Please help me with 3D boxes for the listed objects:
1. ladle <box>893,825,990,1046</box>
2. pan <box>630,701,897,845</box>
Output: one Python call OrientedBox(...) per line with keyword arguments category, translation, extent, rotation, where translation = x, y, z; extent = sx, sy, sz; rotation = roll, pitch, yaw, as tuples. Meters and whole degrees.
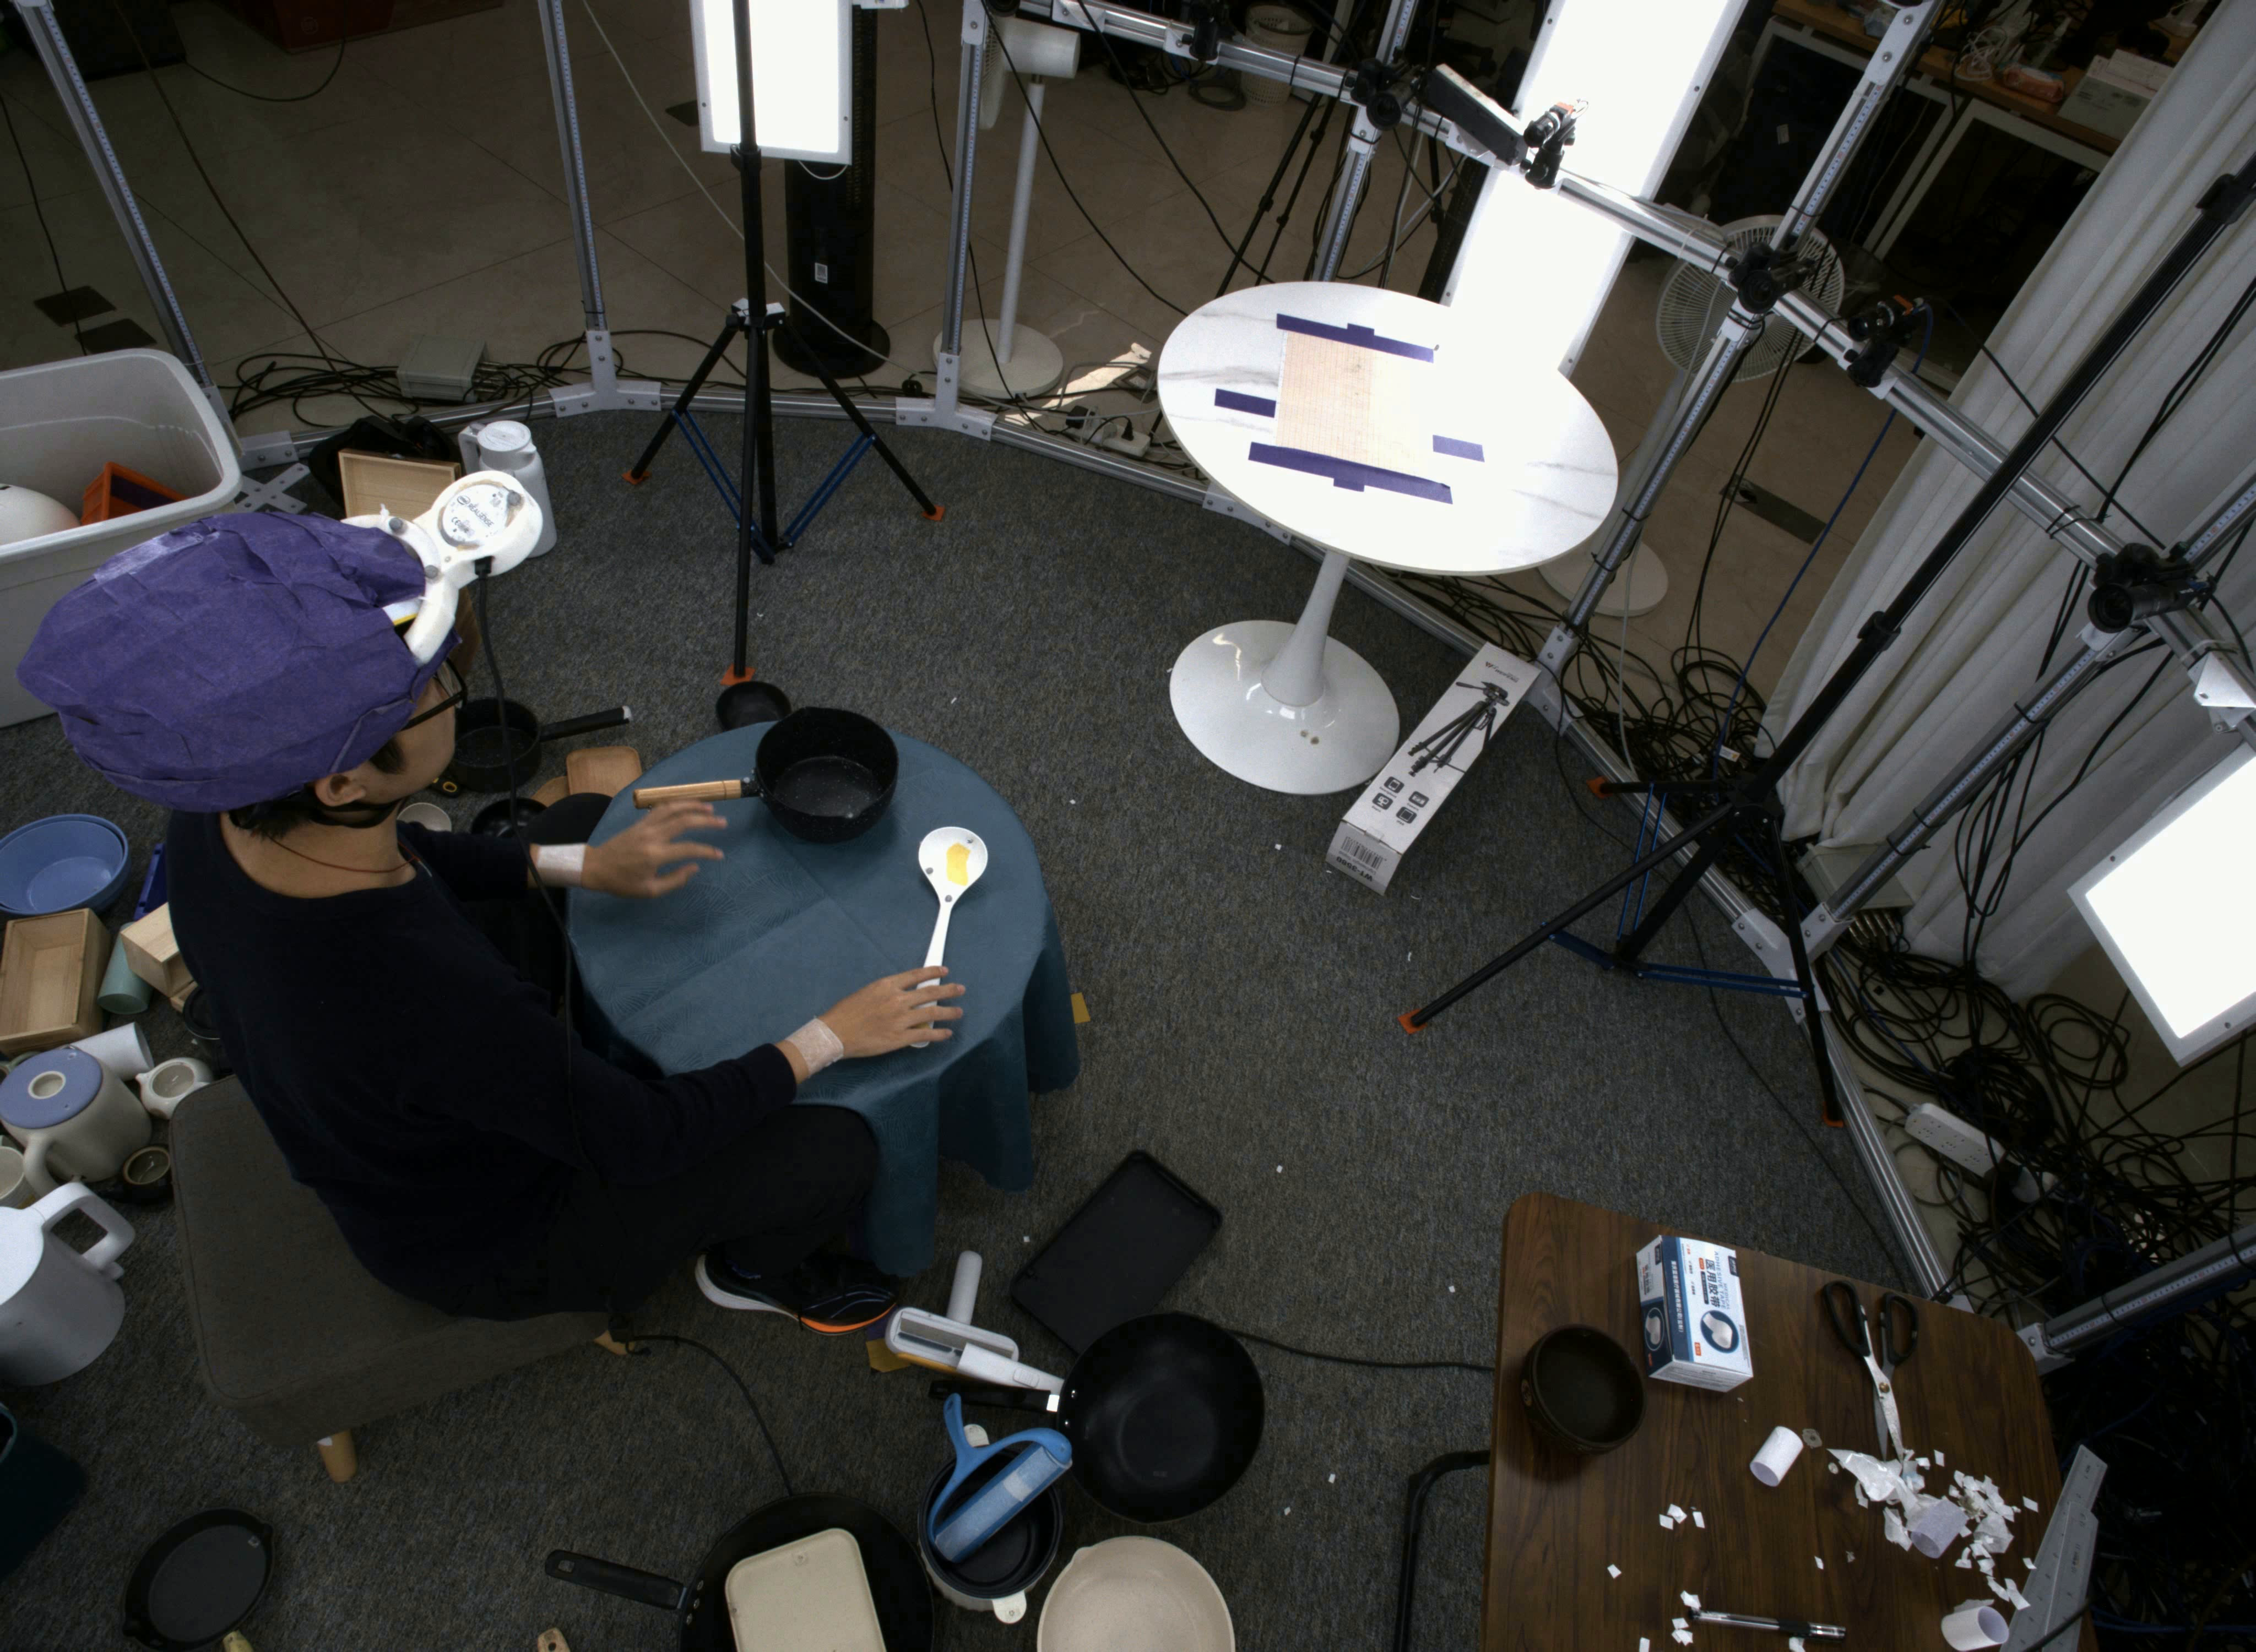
OrientedBox(category="ladle", translation=(-0.242, 0.129, 1.626), extent=(0.089, 0.071, 0.288), rotation=(12, 50, -1))
OrientedBox(category="pan", translation=(-0.466, -0.048, 1.669), extent=(0.345, 0.110, 0.202), rotation=(-17, 60, -27))
